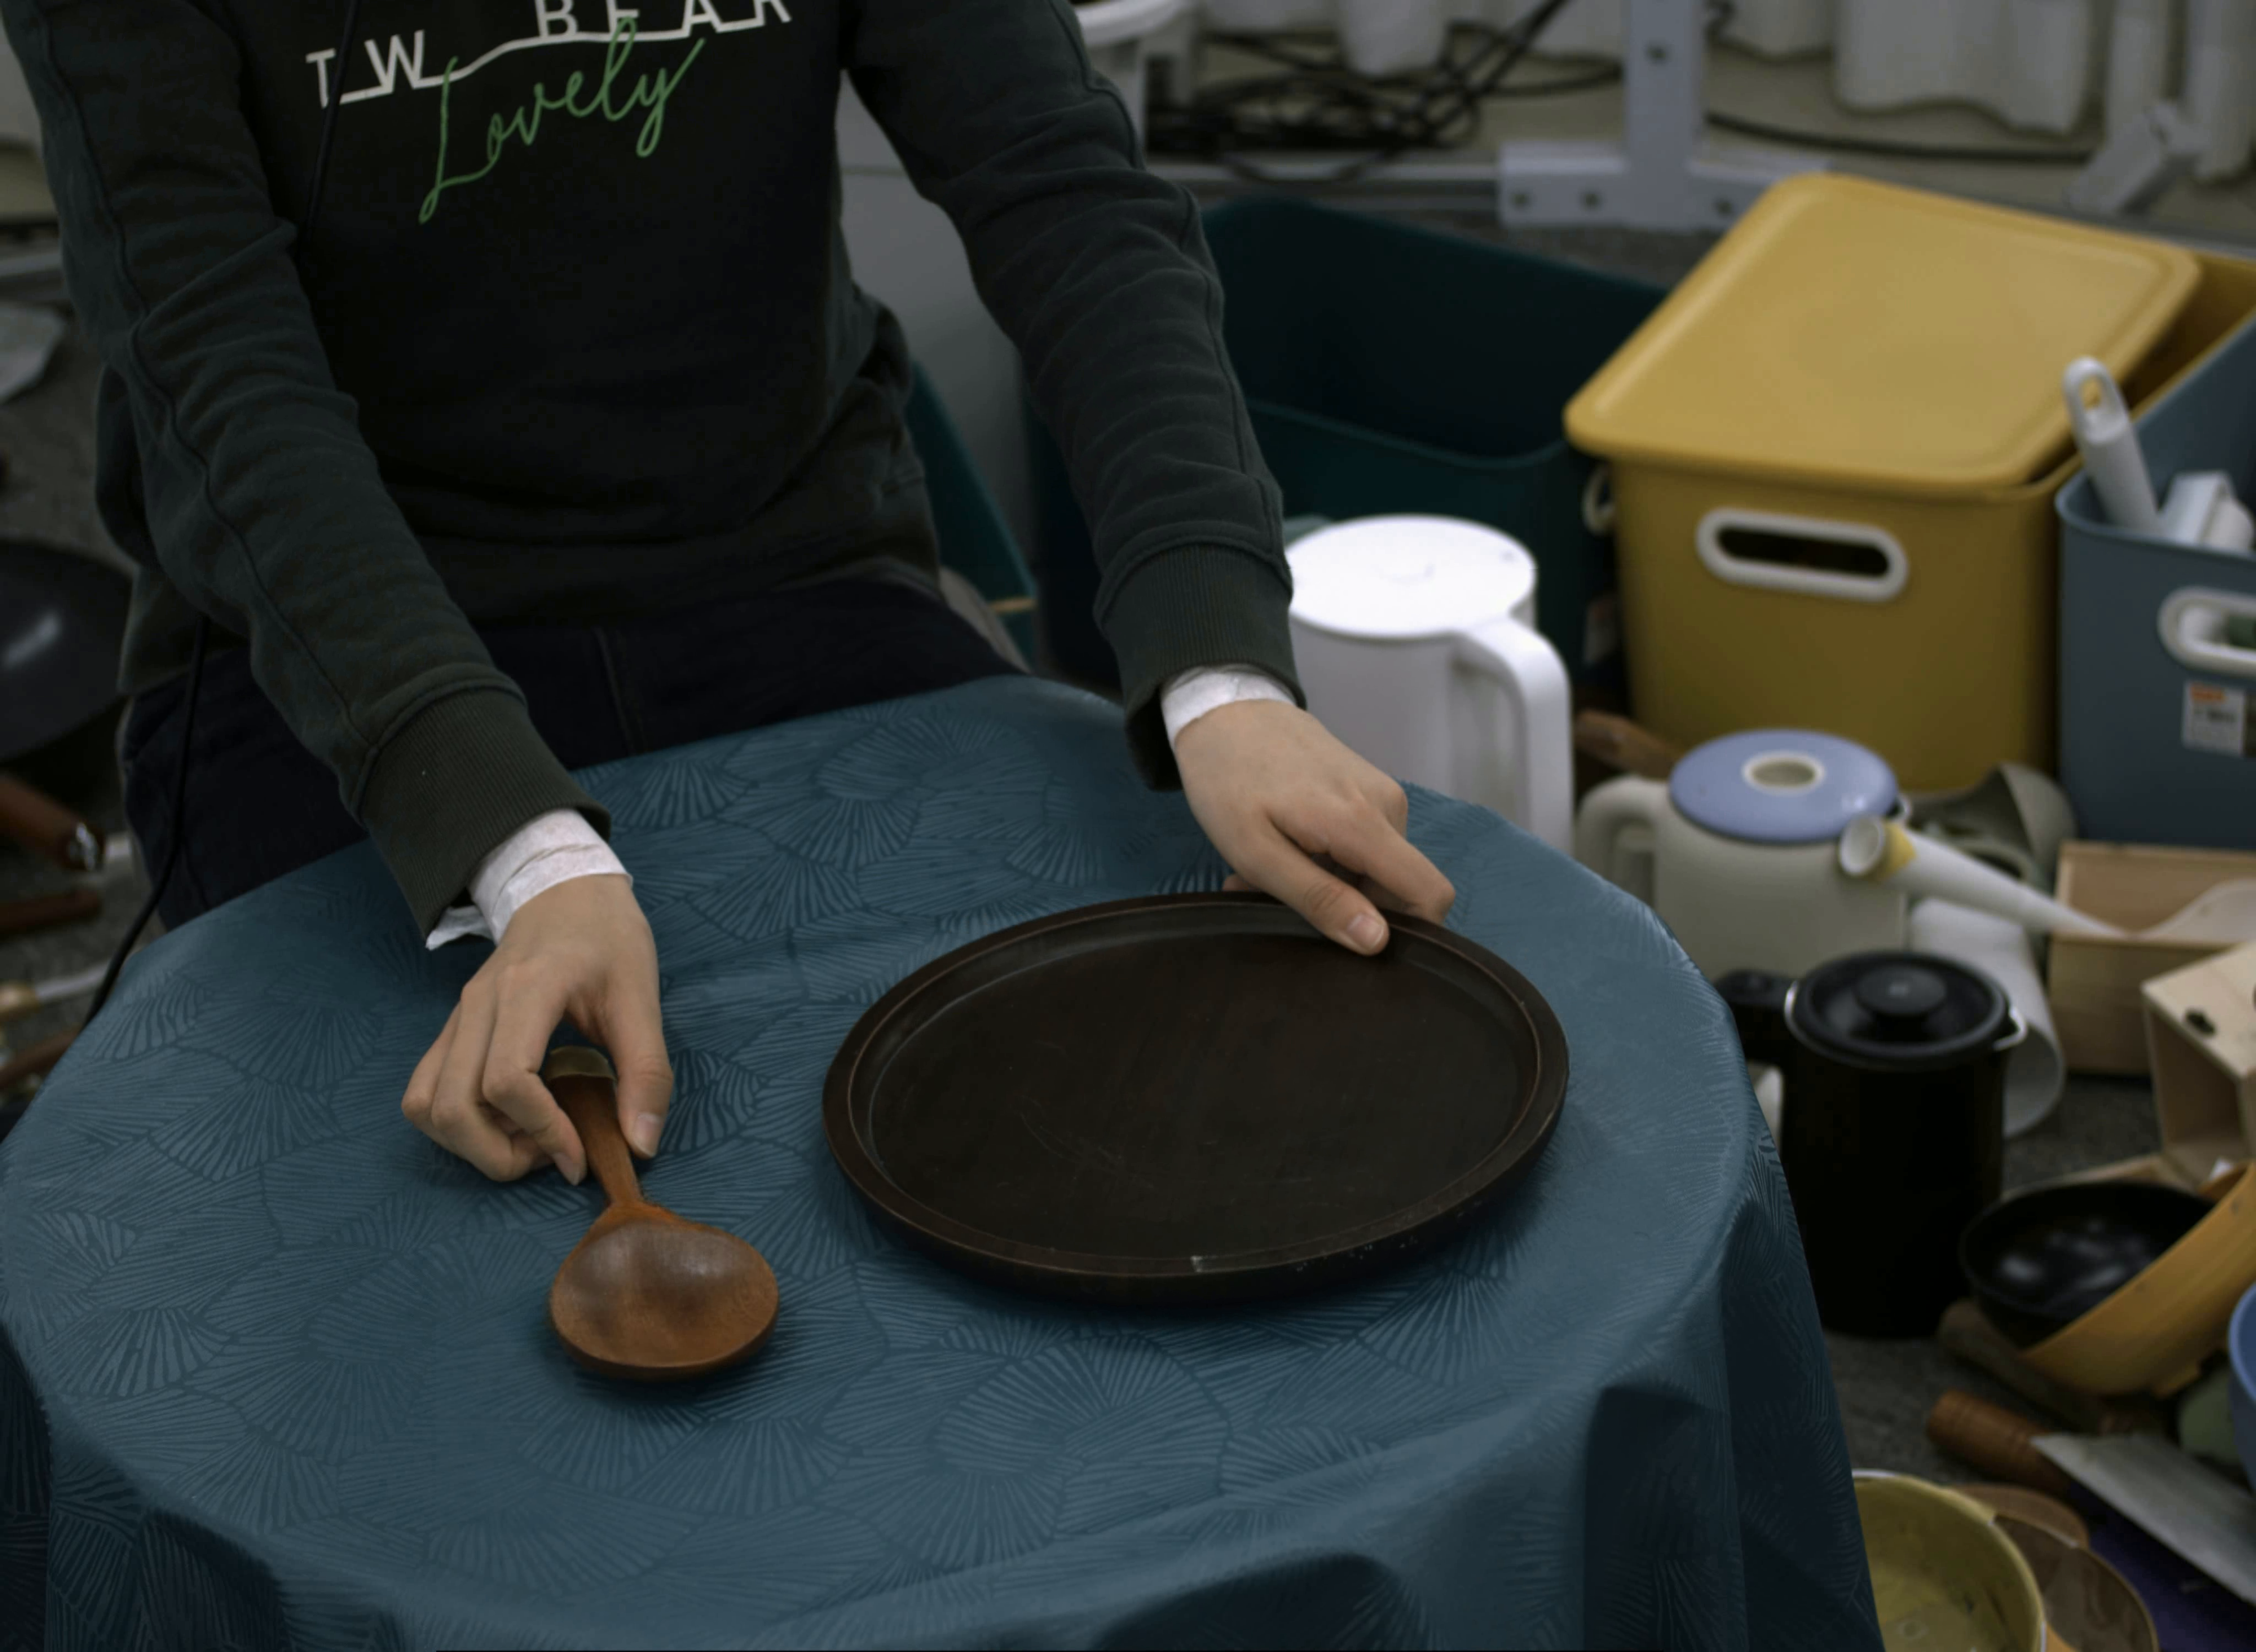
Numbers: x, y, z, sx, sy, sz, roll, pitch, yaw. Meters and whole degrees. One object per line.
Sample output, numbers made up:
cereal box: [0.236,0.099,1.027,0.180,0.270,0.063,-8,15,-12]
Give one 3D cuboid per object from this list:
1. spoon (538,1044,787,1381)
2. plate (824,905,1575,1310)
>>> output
spoon: [-0.164,0.128,1.847,0.075,0.017,0.218,-10,28,-13]
plate: [0.024,0.092,1.889,0.253,0.029,0.259,-2,28,1]
